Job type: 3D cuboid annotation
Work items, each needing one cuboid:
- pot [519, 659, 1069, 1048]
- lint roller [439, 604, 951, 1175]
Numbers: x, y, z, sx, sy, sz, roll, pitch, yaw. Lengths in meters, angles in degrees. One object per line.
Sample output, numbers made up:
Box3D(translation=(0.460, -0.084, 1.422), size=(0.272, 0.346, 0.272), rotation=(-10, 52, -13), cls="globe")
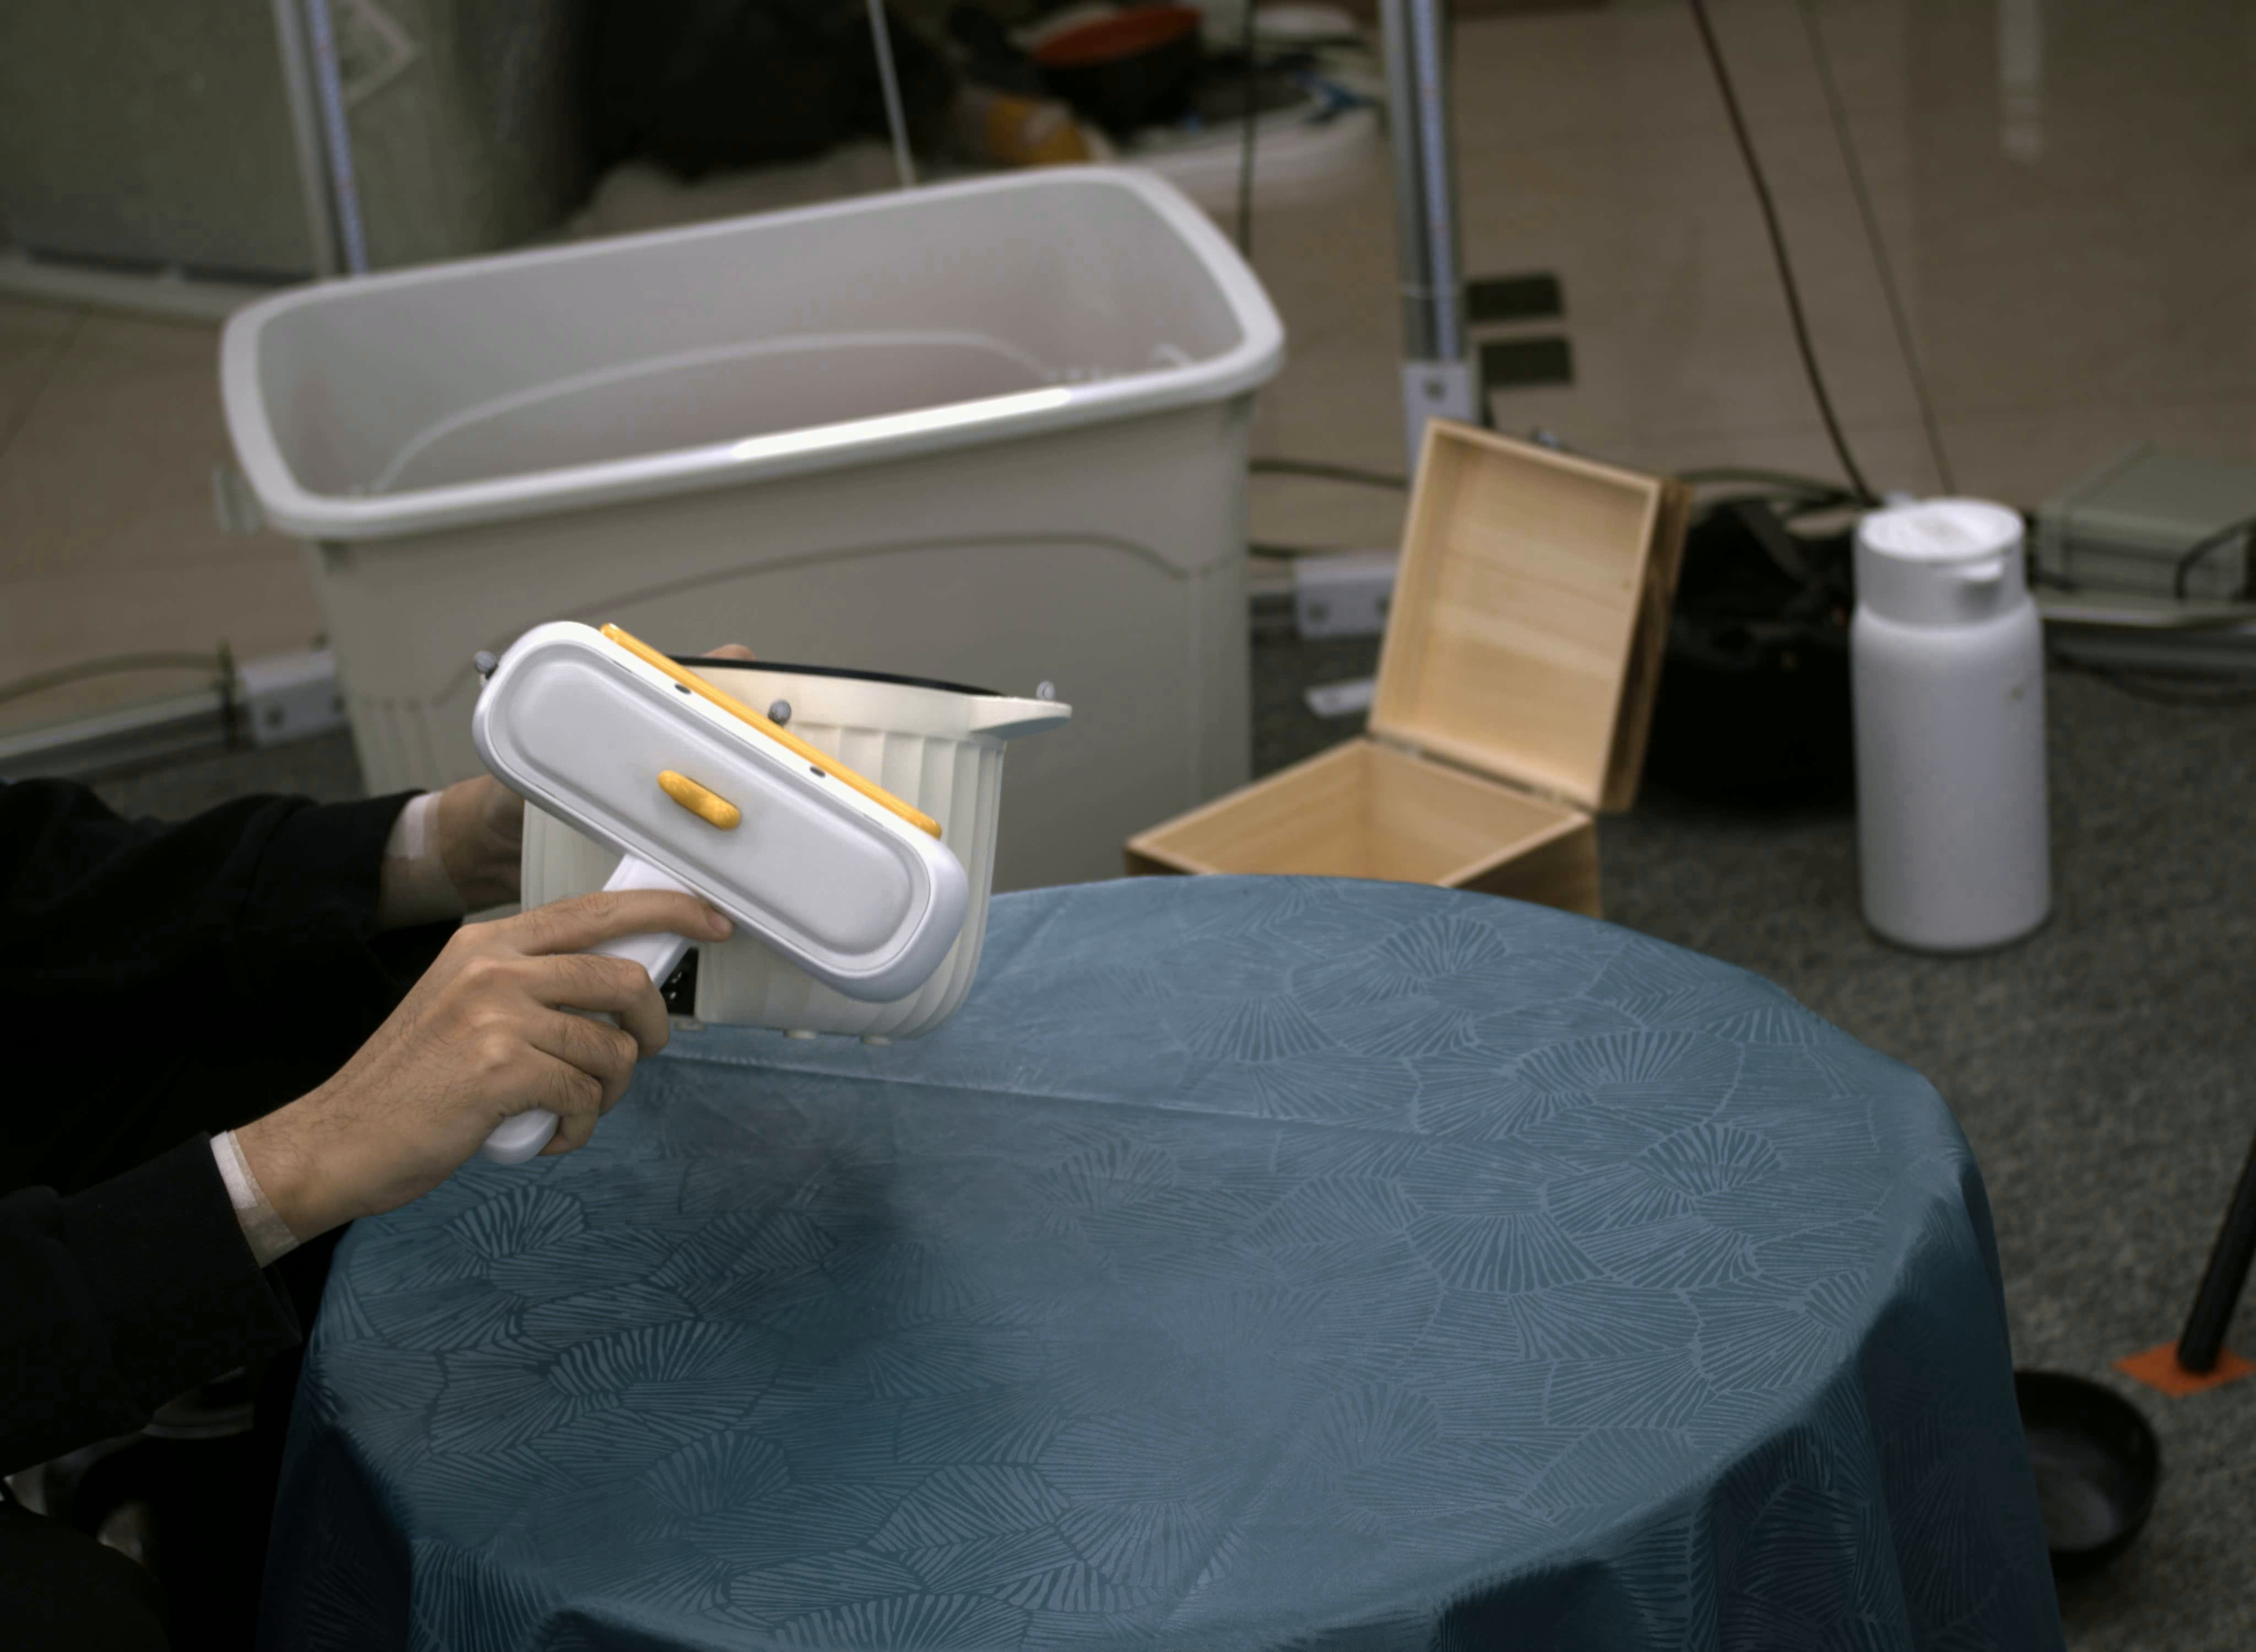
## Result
Box3D(translation=(-0.140, 0.012, 2.145), size=(0.239, 0.143, 0.190), rotation=(5, 1, 19), cls="pot")
Box3D(translation=(-0.181, 0.038, 2.010), size=(0.193, 0.191, 0.074), rotation=(28, -9, 0), cls="lint roller")
